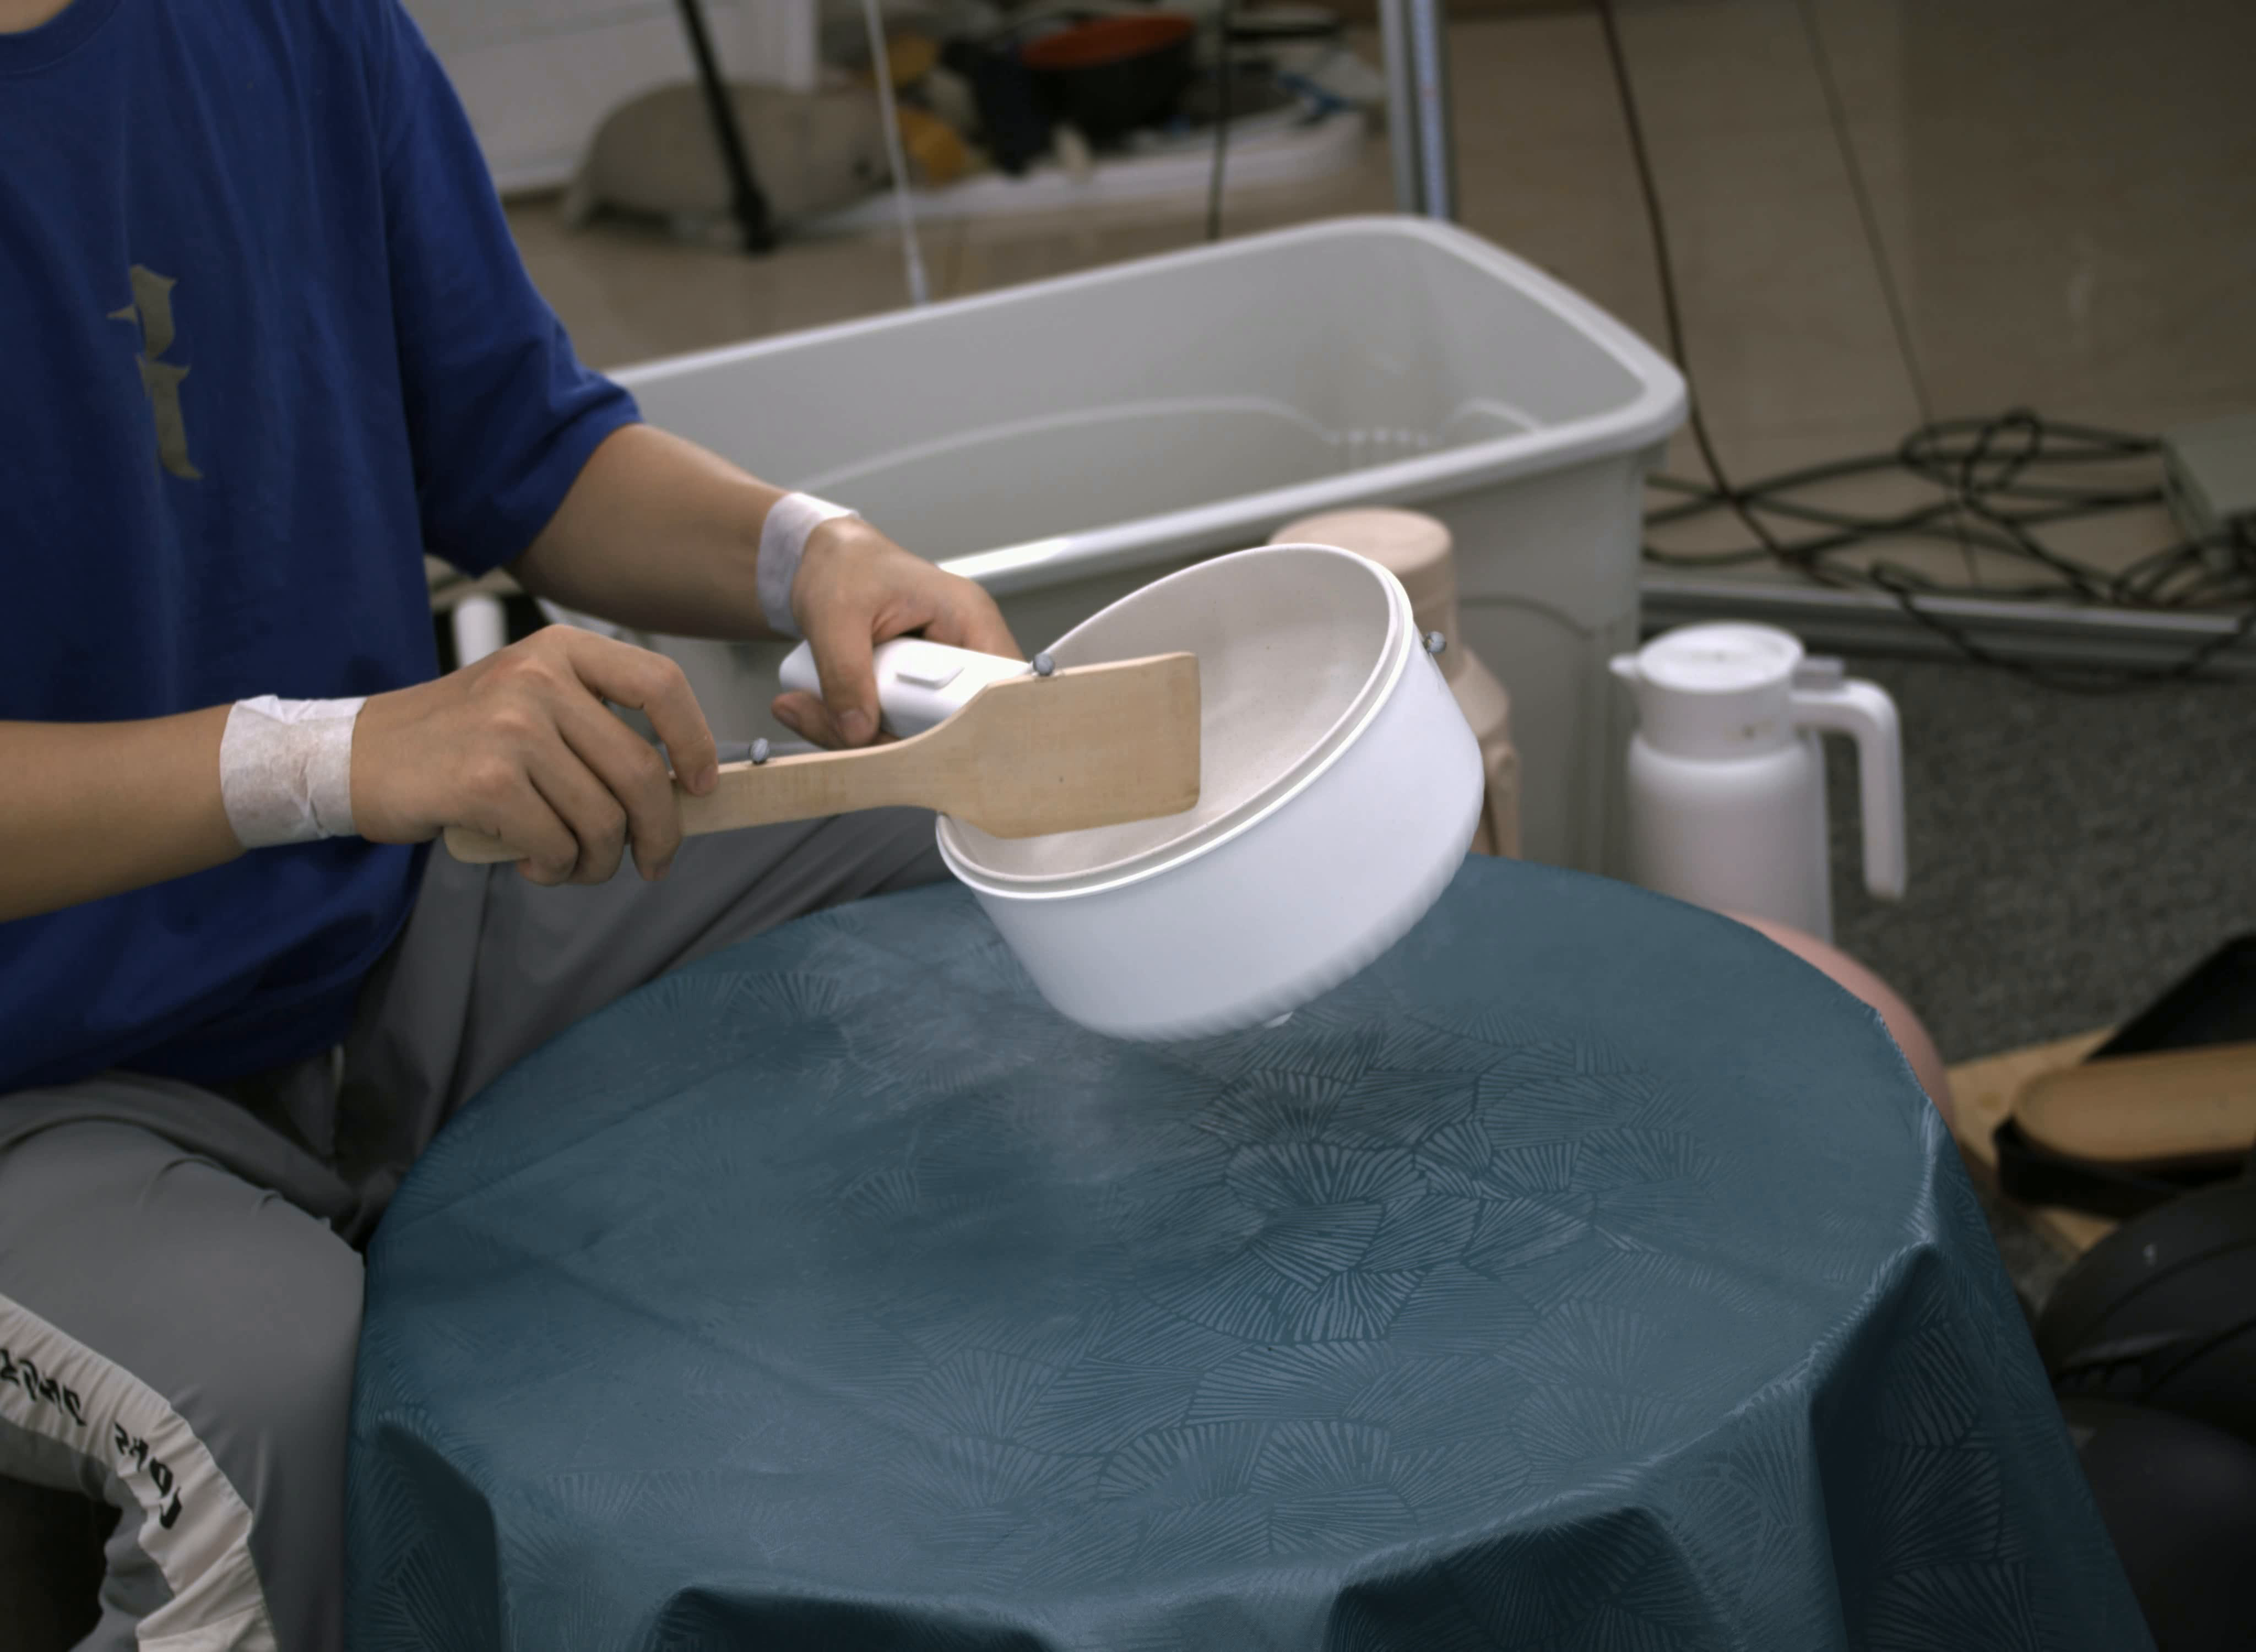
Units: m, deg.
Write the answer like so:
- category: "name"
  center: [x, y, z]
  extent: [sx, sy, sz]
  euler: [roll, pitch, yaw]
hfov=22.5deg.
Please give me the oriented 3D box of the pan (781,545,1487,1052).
- category: "pan"
  center: [-0.008, -0.016, 2.215]
  extent: [0.199, 0.103, 0.352]
  euler: [-47, 32, -21]

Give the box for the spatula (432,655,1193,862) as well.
- category: "spatula"
  center: [-0.116, -0.018, 2.130]
  extent: [0.292, 0.073, 0.010]
  euler: [-7, 34, -12]
